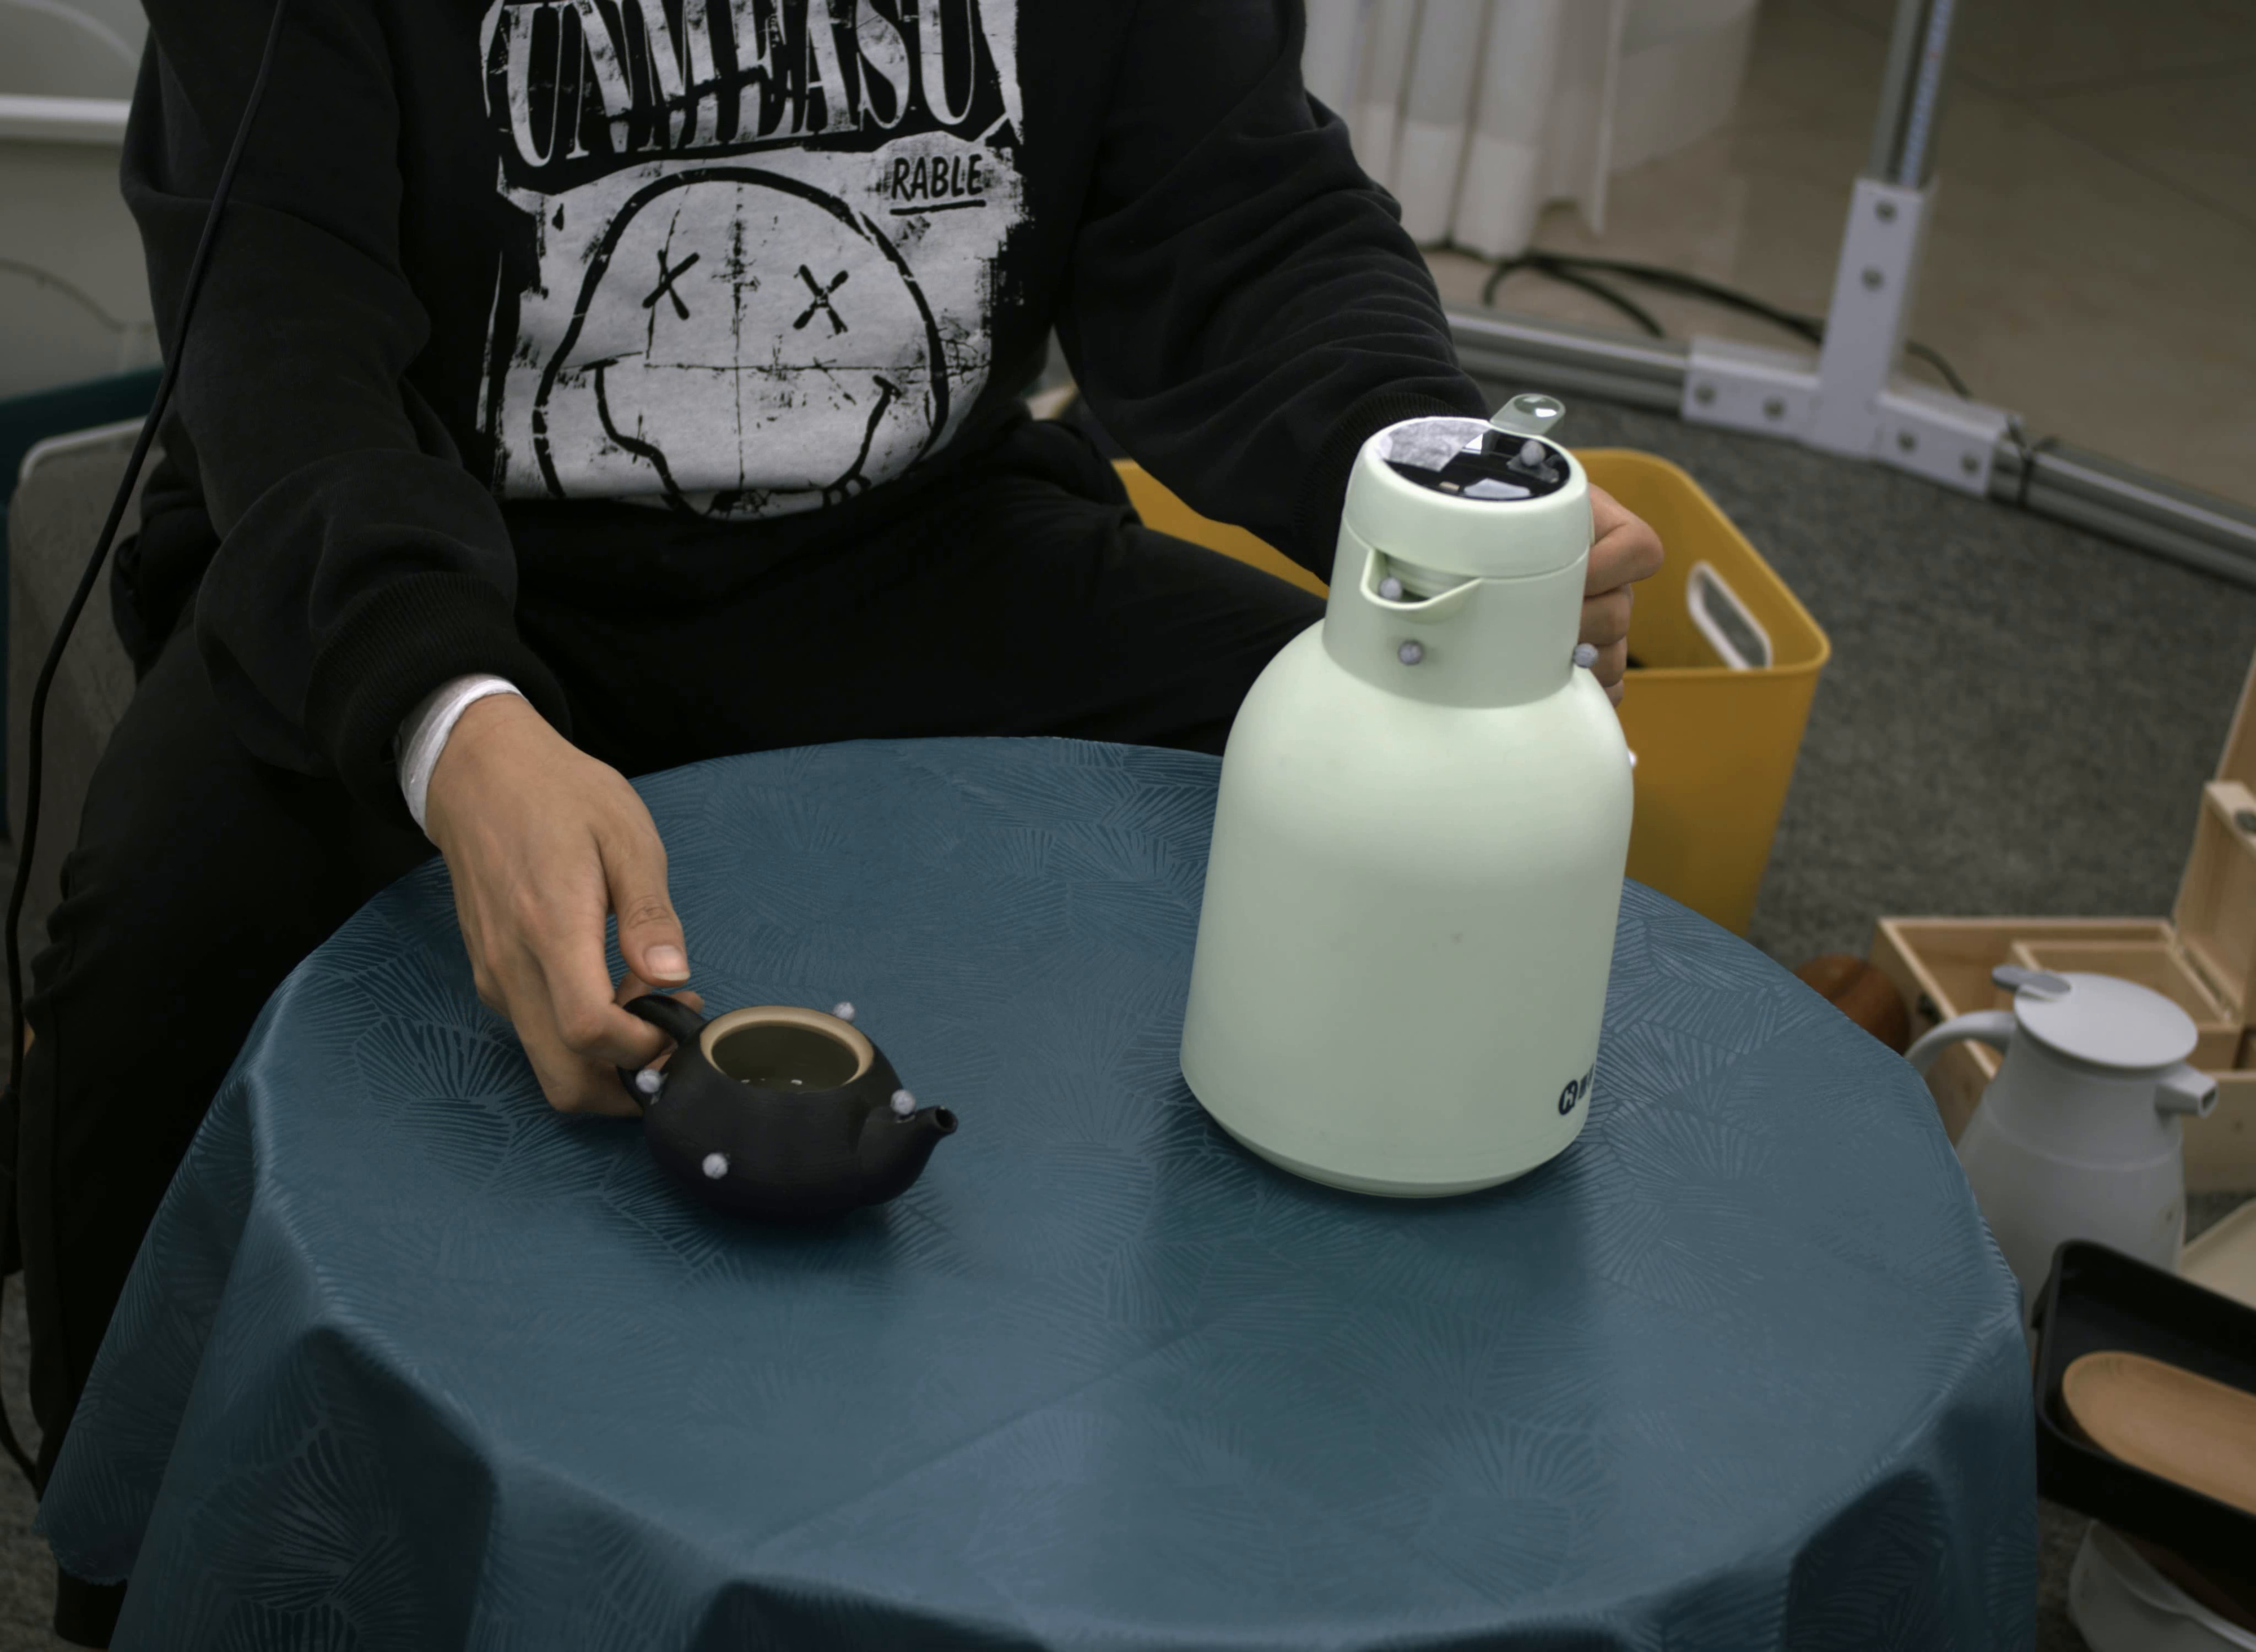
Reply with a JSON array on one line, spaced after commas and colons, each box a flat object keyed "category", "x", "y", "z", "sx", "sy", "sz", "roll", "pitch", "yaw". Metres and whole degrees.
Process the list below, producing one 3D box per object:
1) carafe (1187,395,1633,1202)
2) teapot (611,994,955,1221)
[{"category": "carafe", "x": 0.108, "y": -0.015, "z": 1.827, "sx": 0.144, "sy": 0.256, "sz": 0.186, "roll": 15, "pitch": 24, "yaw": 19}, {"category": "teapot", "x": -0.117, "y": 0.096, "z": 1.774, "sx": 0.134, "sy": 0.053, "sz": 0.091, "roll": 20, "pitch": 28, "yaw": 24}]
